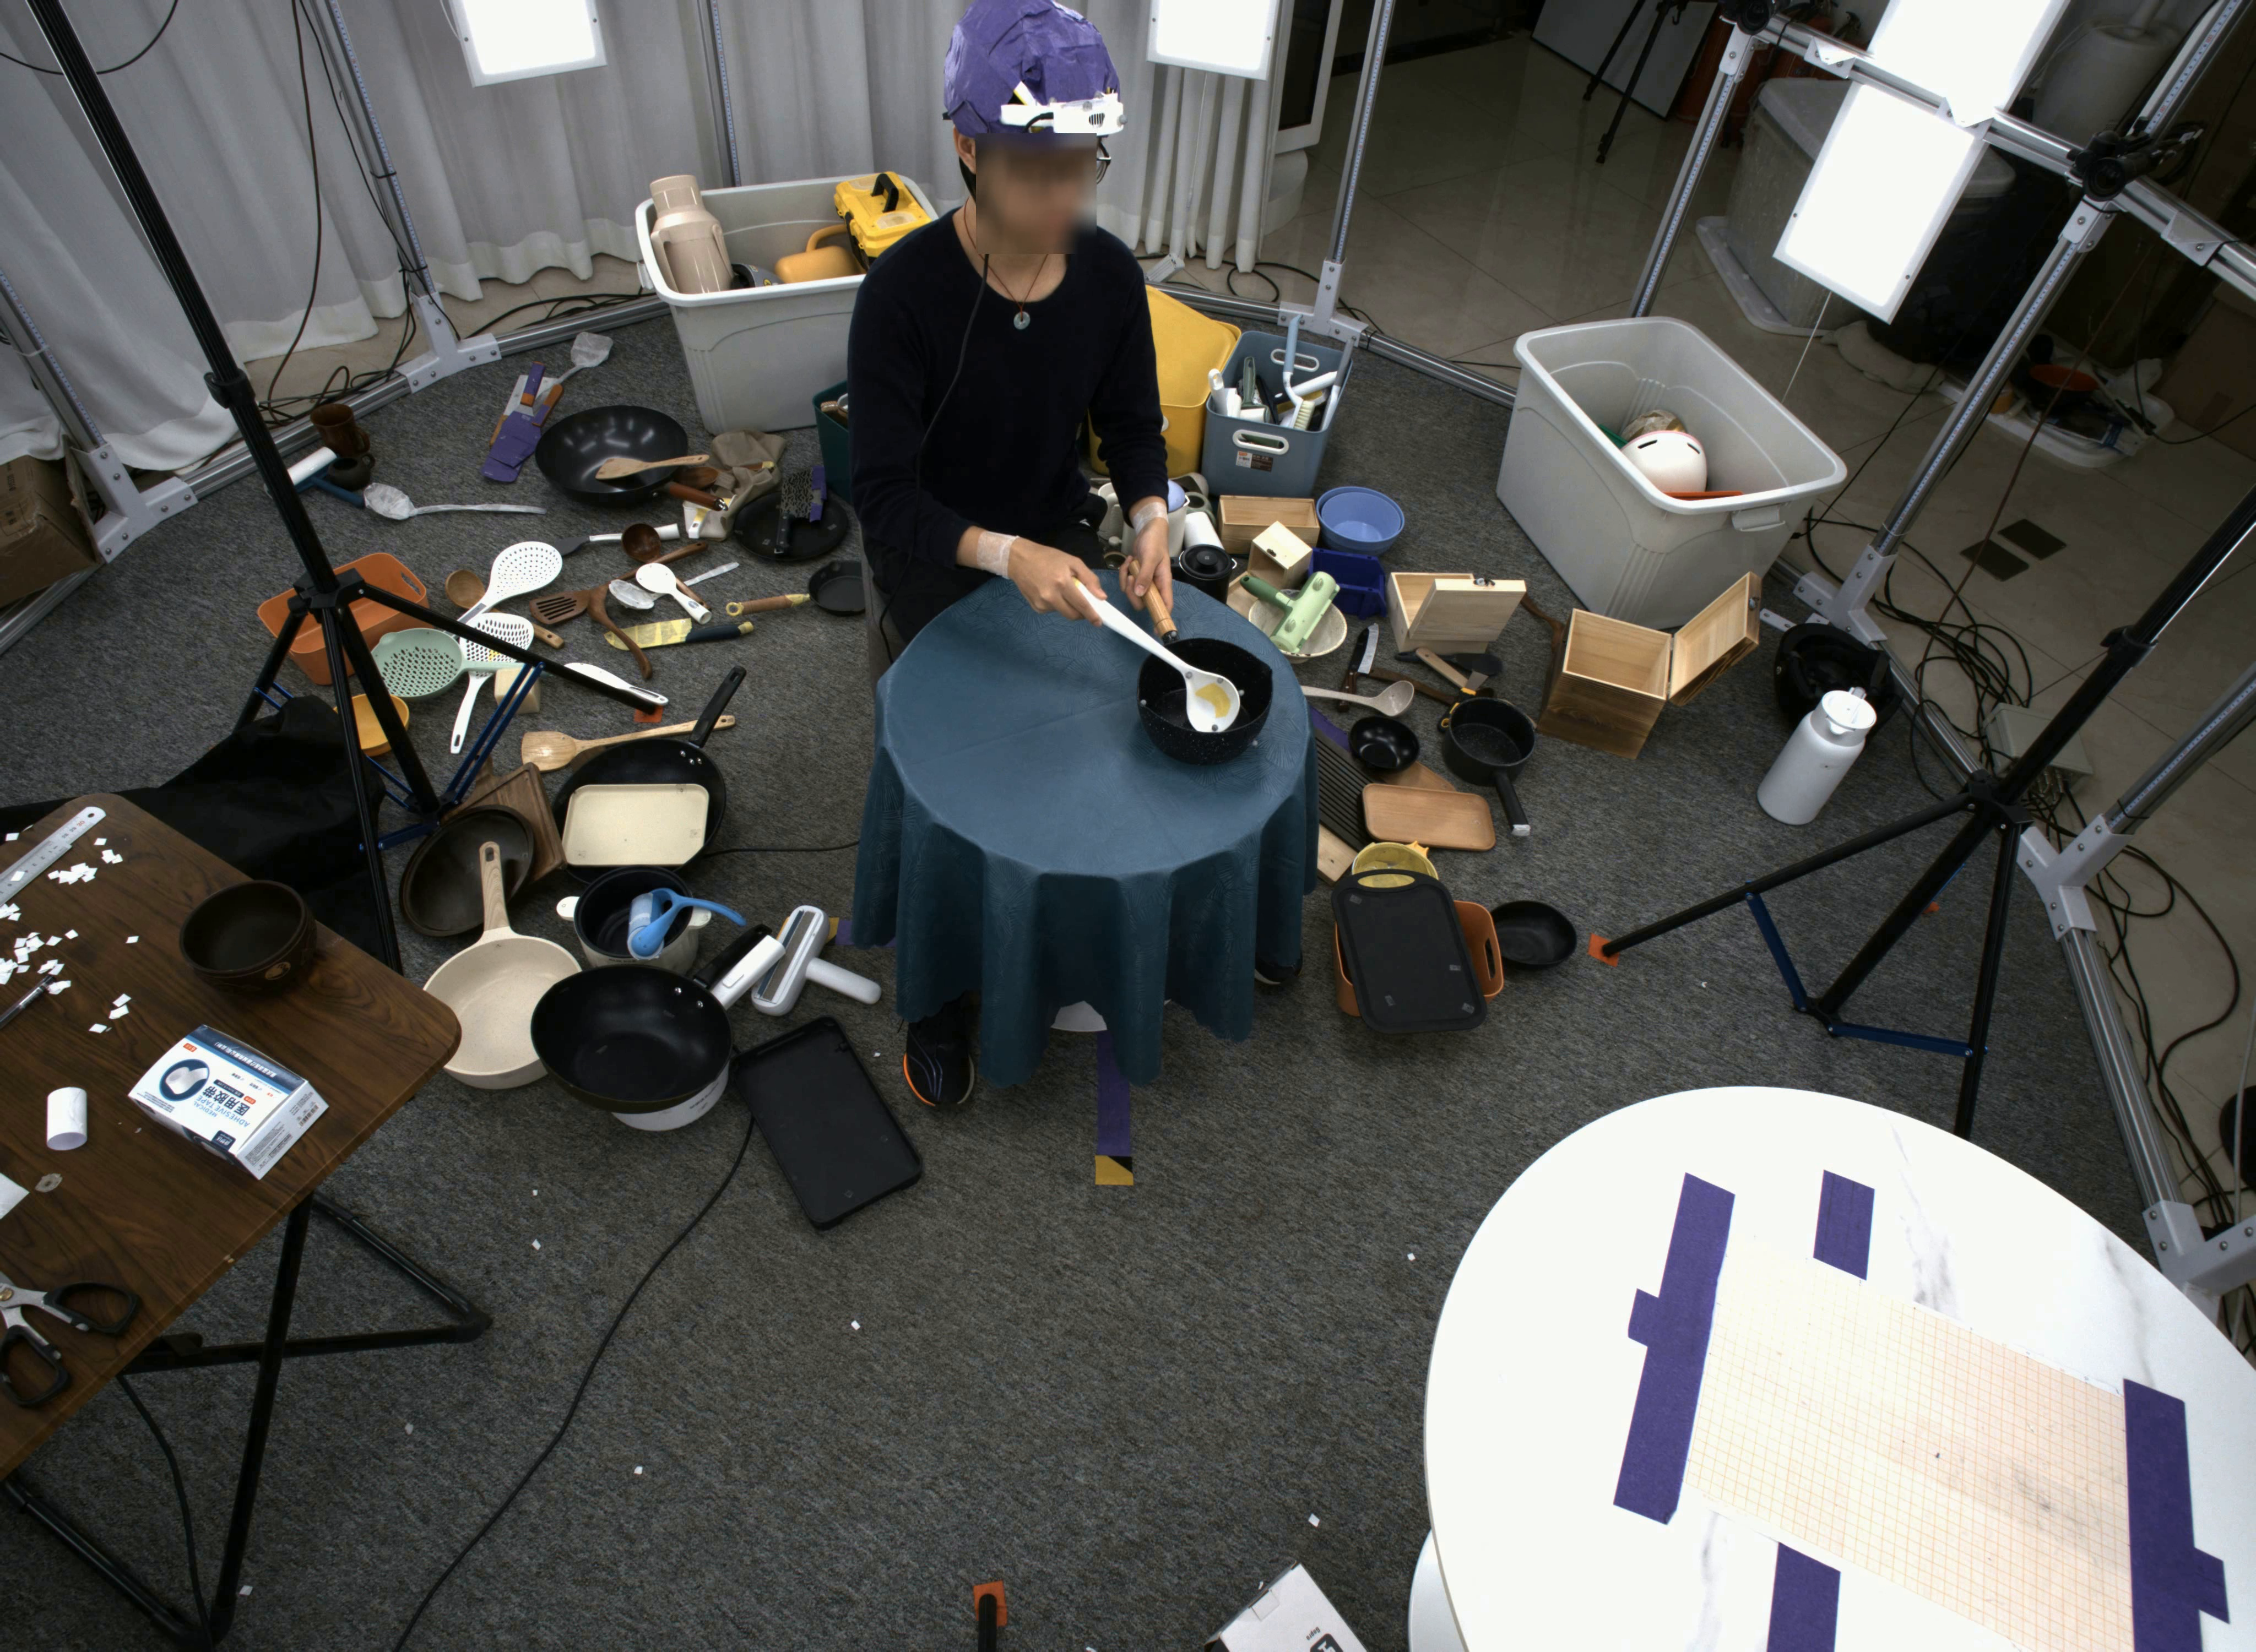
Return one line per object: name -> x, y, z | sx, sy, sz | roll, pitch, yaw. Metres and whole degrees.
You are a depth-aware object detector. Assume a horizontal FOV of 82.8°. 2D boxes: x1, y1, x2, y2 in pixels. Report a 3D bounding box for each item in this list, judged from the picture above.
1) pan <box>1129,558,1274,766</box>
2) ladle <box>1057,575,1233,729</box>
pan -> 0.071, -0.231, 1.805 | 0.207, 0.105, 0.350 | -17, 54, -16
ladle -> 0.022, -0.230, 1.748 | 0.290, 0.089, 0.071 | 36, 45, -16
